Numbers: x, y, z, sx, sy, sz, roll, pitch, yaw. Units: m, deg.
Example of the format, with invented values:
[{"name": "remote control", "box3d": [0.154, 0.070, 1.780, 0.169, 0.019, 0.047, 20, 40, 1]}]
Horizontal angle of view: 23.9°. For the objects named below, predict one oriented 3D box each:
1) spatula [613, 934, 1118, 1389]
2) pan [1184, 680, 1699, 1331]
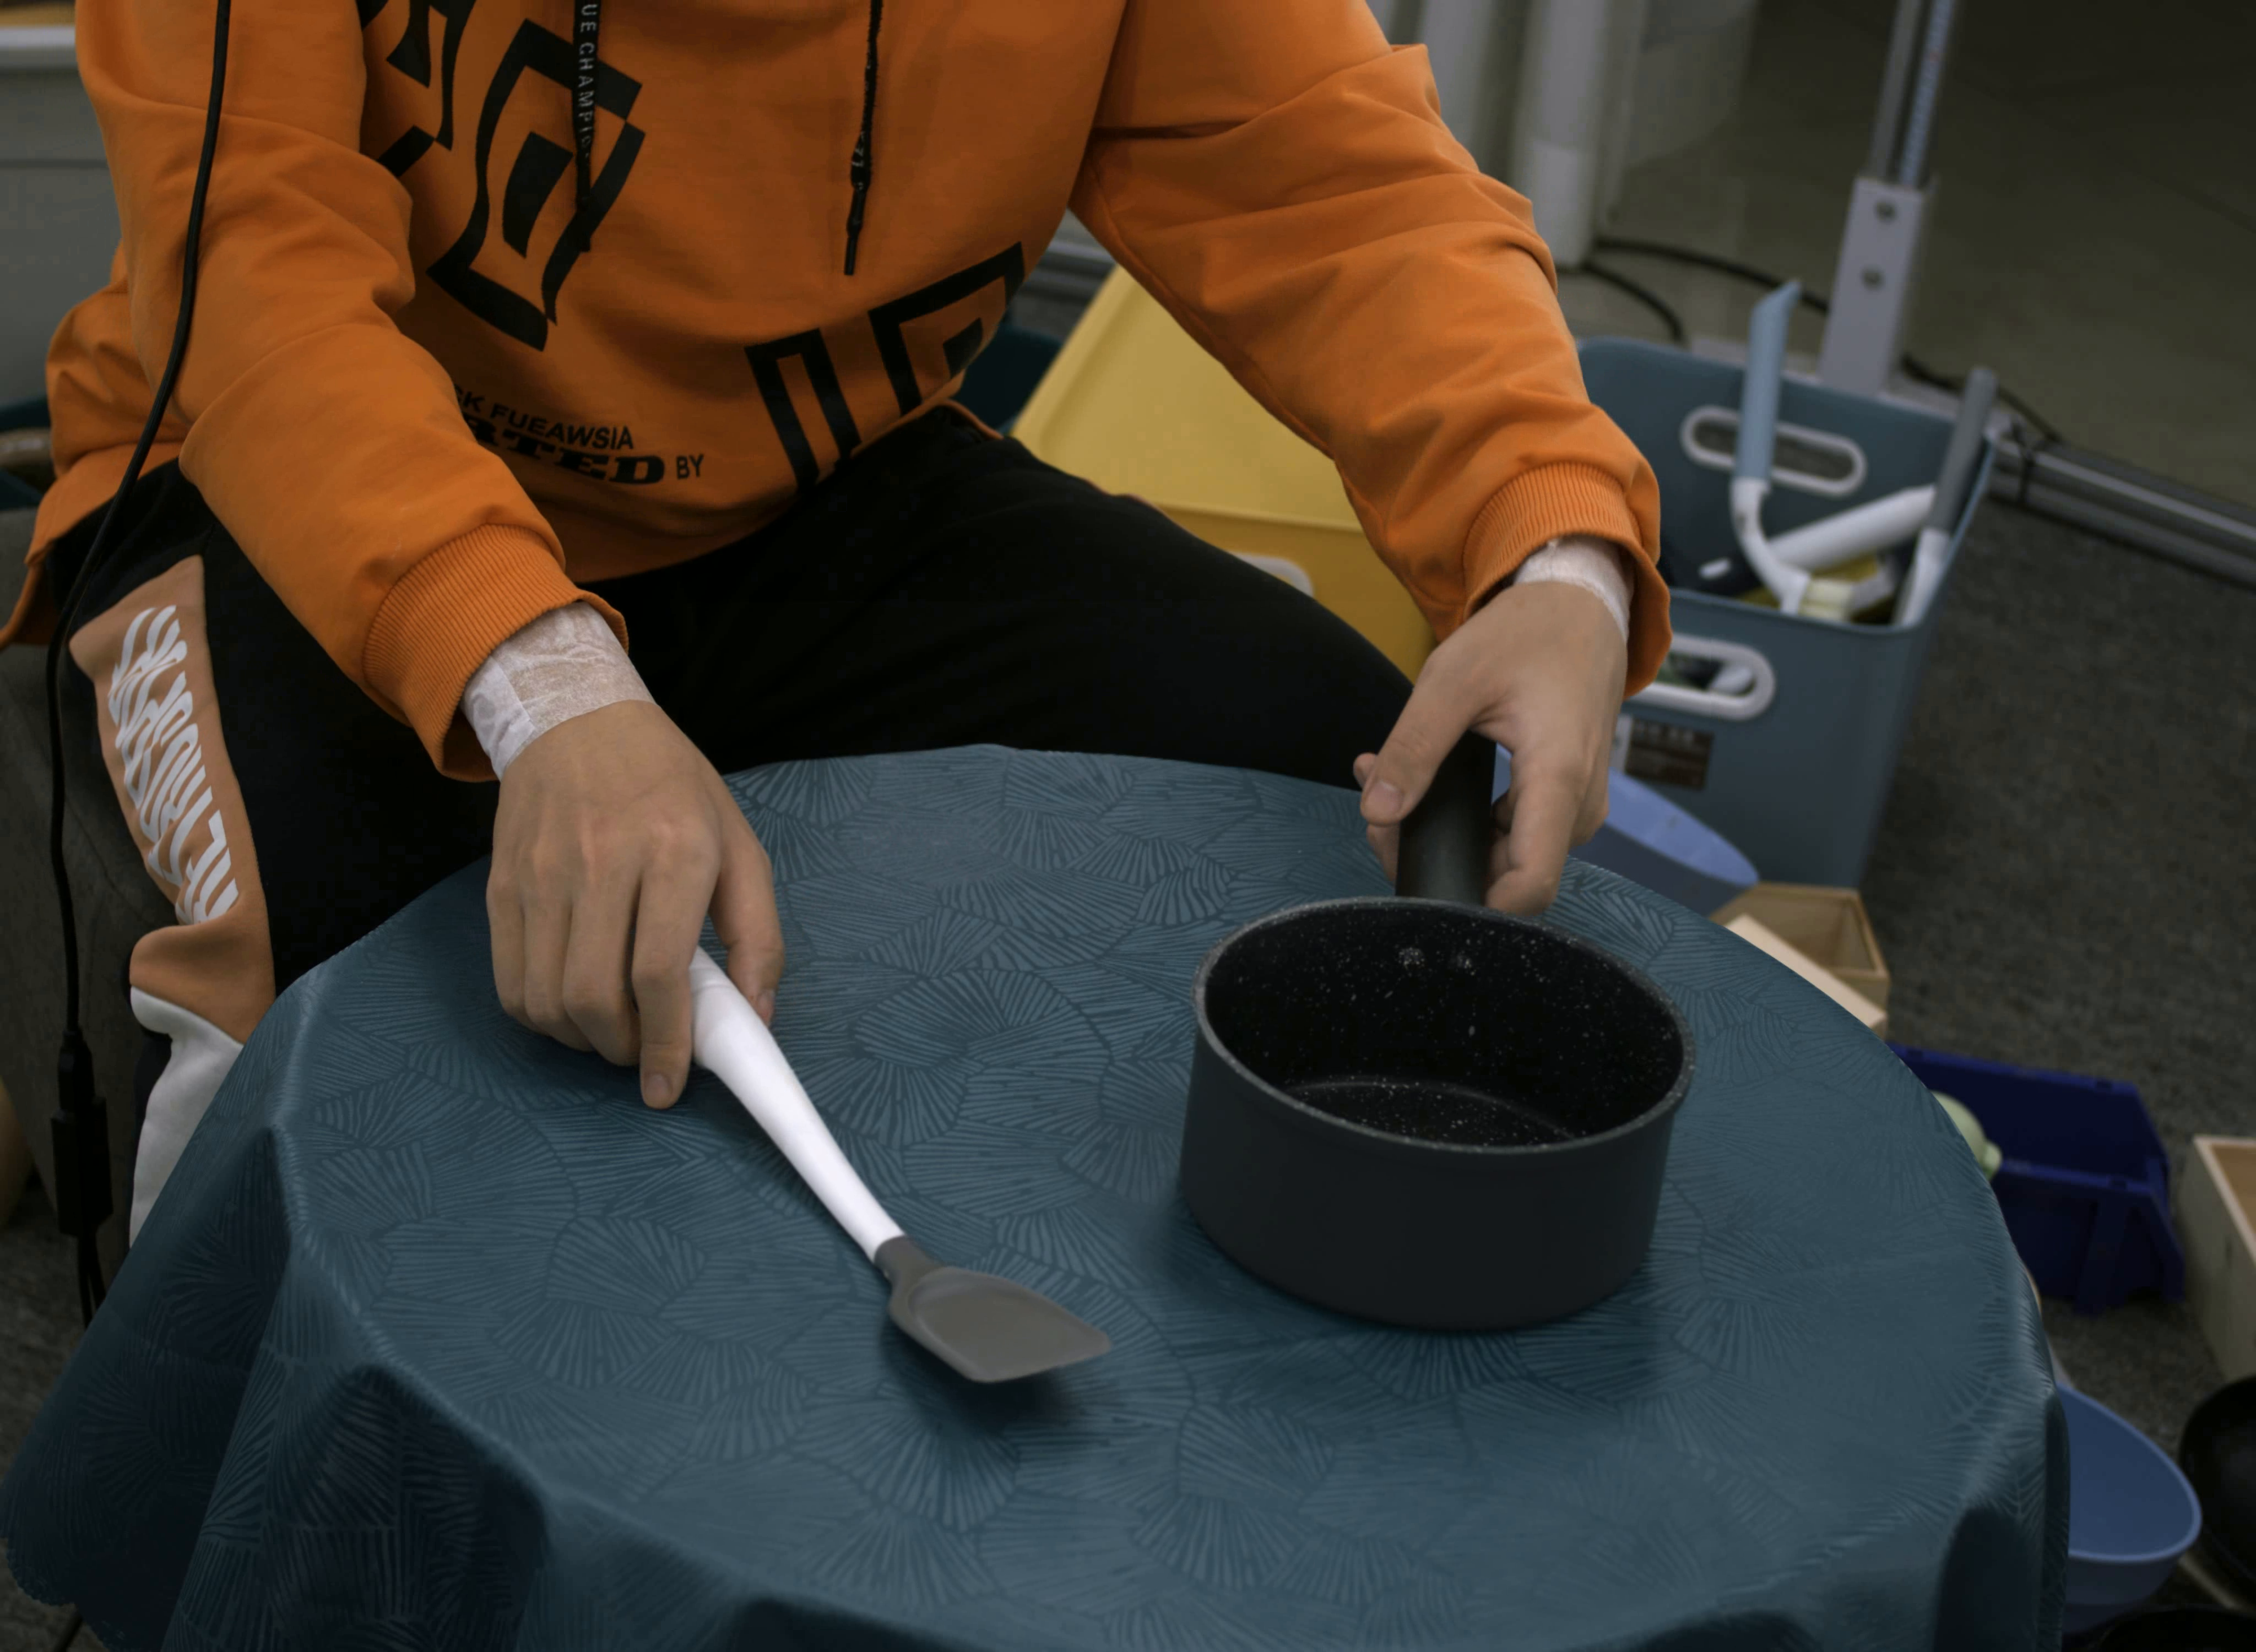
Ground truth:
[{"name": "spatula", "box3d": [-0.095, 0.115, 1.764, 0.058, 0.032, 0.290, -6, 29, -31]}, {"name": "pan", "box3d": [0.110, 0.058, 1.863, 0.171, 0.086, 0.330, 9, 29, 3]}]
